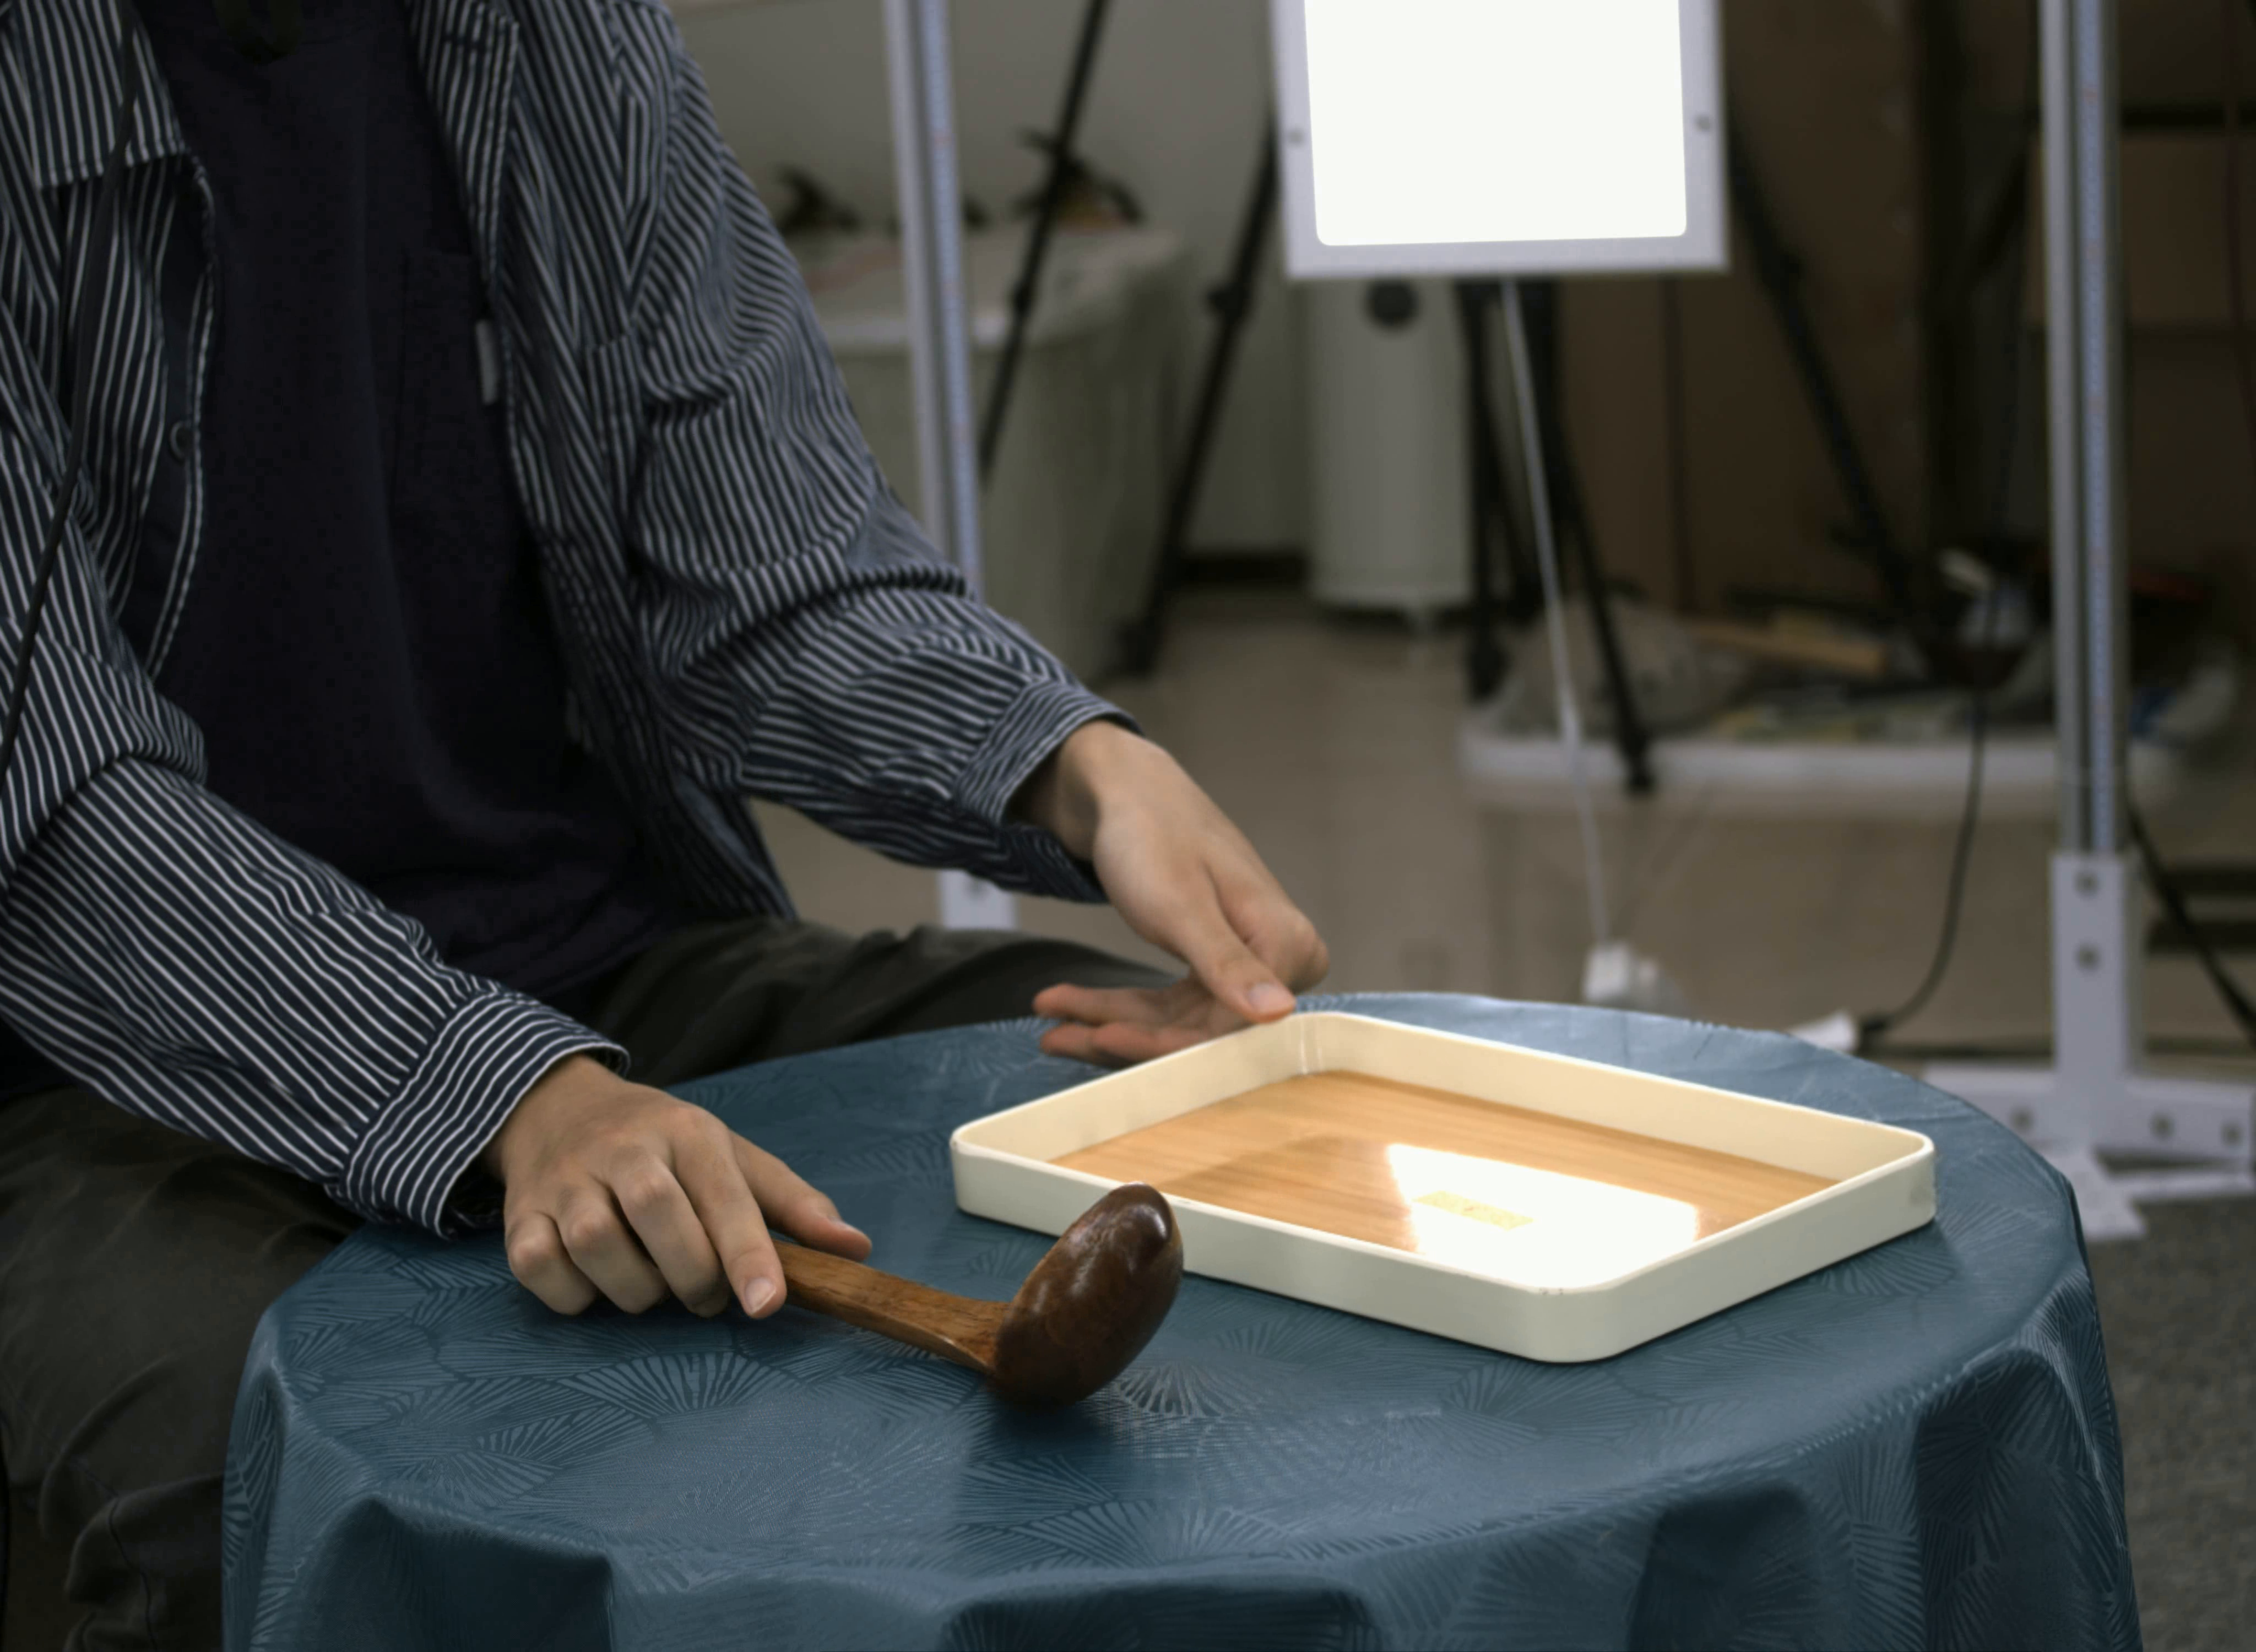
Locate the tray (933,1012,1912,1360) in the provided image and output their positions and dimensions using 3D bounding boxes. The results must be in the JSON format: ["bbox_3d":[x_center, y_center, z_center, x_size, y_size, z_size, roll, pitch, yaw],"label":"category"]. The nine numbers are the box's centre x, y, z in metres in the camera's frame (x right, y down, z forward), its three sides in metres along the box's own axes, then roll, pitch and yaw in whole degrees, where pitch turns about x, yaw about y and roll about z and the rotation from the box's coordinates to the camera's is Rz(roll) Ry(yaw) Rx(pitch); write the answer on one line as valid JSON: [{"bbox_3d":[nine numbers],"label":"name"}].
[{"bbox_3d":[0.096,0.116,1.847,0.187,0.027,0.307,-17,17,-39],"label":"tray"}]

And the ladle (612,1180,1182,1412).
[{"bbox_3d":[-0.087,0.131,1.750,0.080,0.076,0.280,-36,30,-32],"label":"ladle"}]
